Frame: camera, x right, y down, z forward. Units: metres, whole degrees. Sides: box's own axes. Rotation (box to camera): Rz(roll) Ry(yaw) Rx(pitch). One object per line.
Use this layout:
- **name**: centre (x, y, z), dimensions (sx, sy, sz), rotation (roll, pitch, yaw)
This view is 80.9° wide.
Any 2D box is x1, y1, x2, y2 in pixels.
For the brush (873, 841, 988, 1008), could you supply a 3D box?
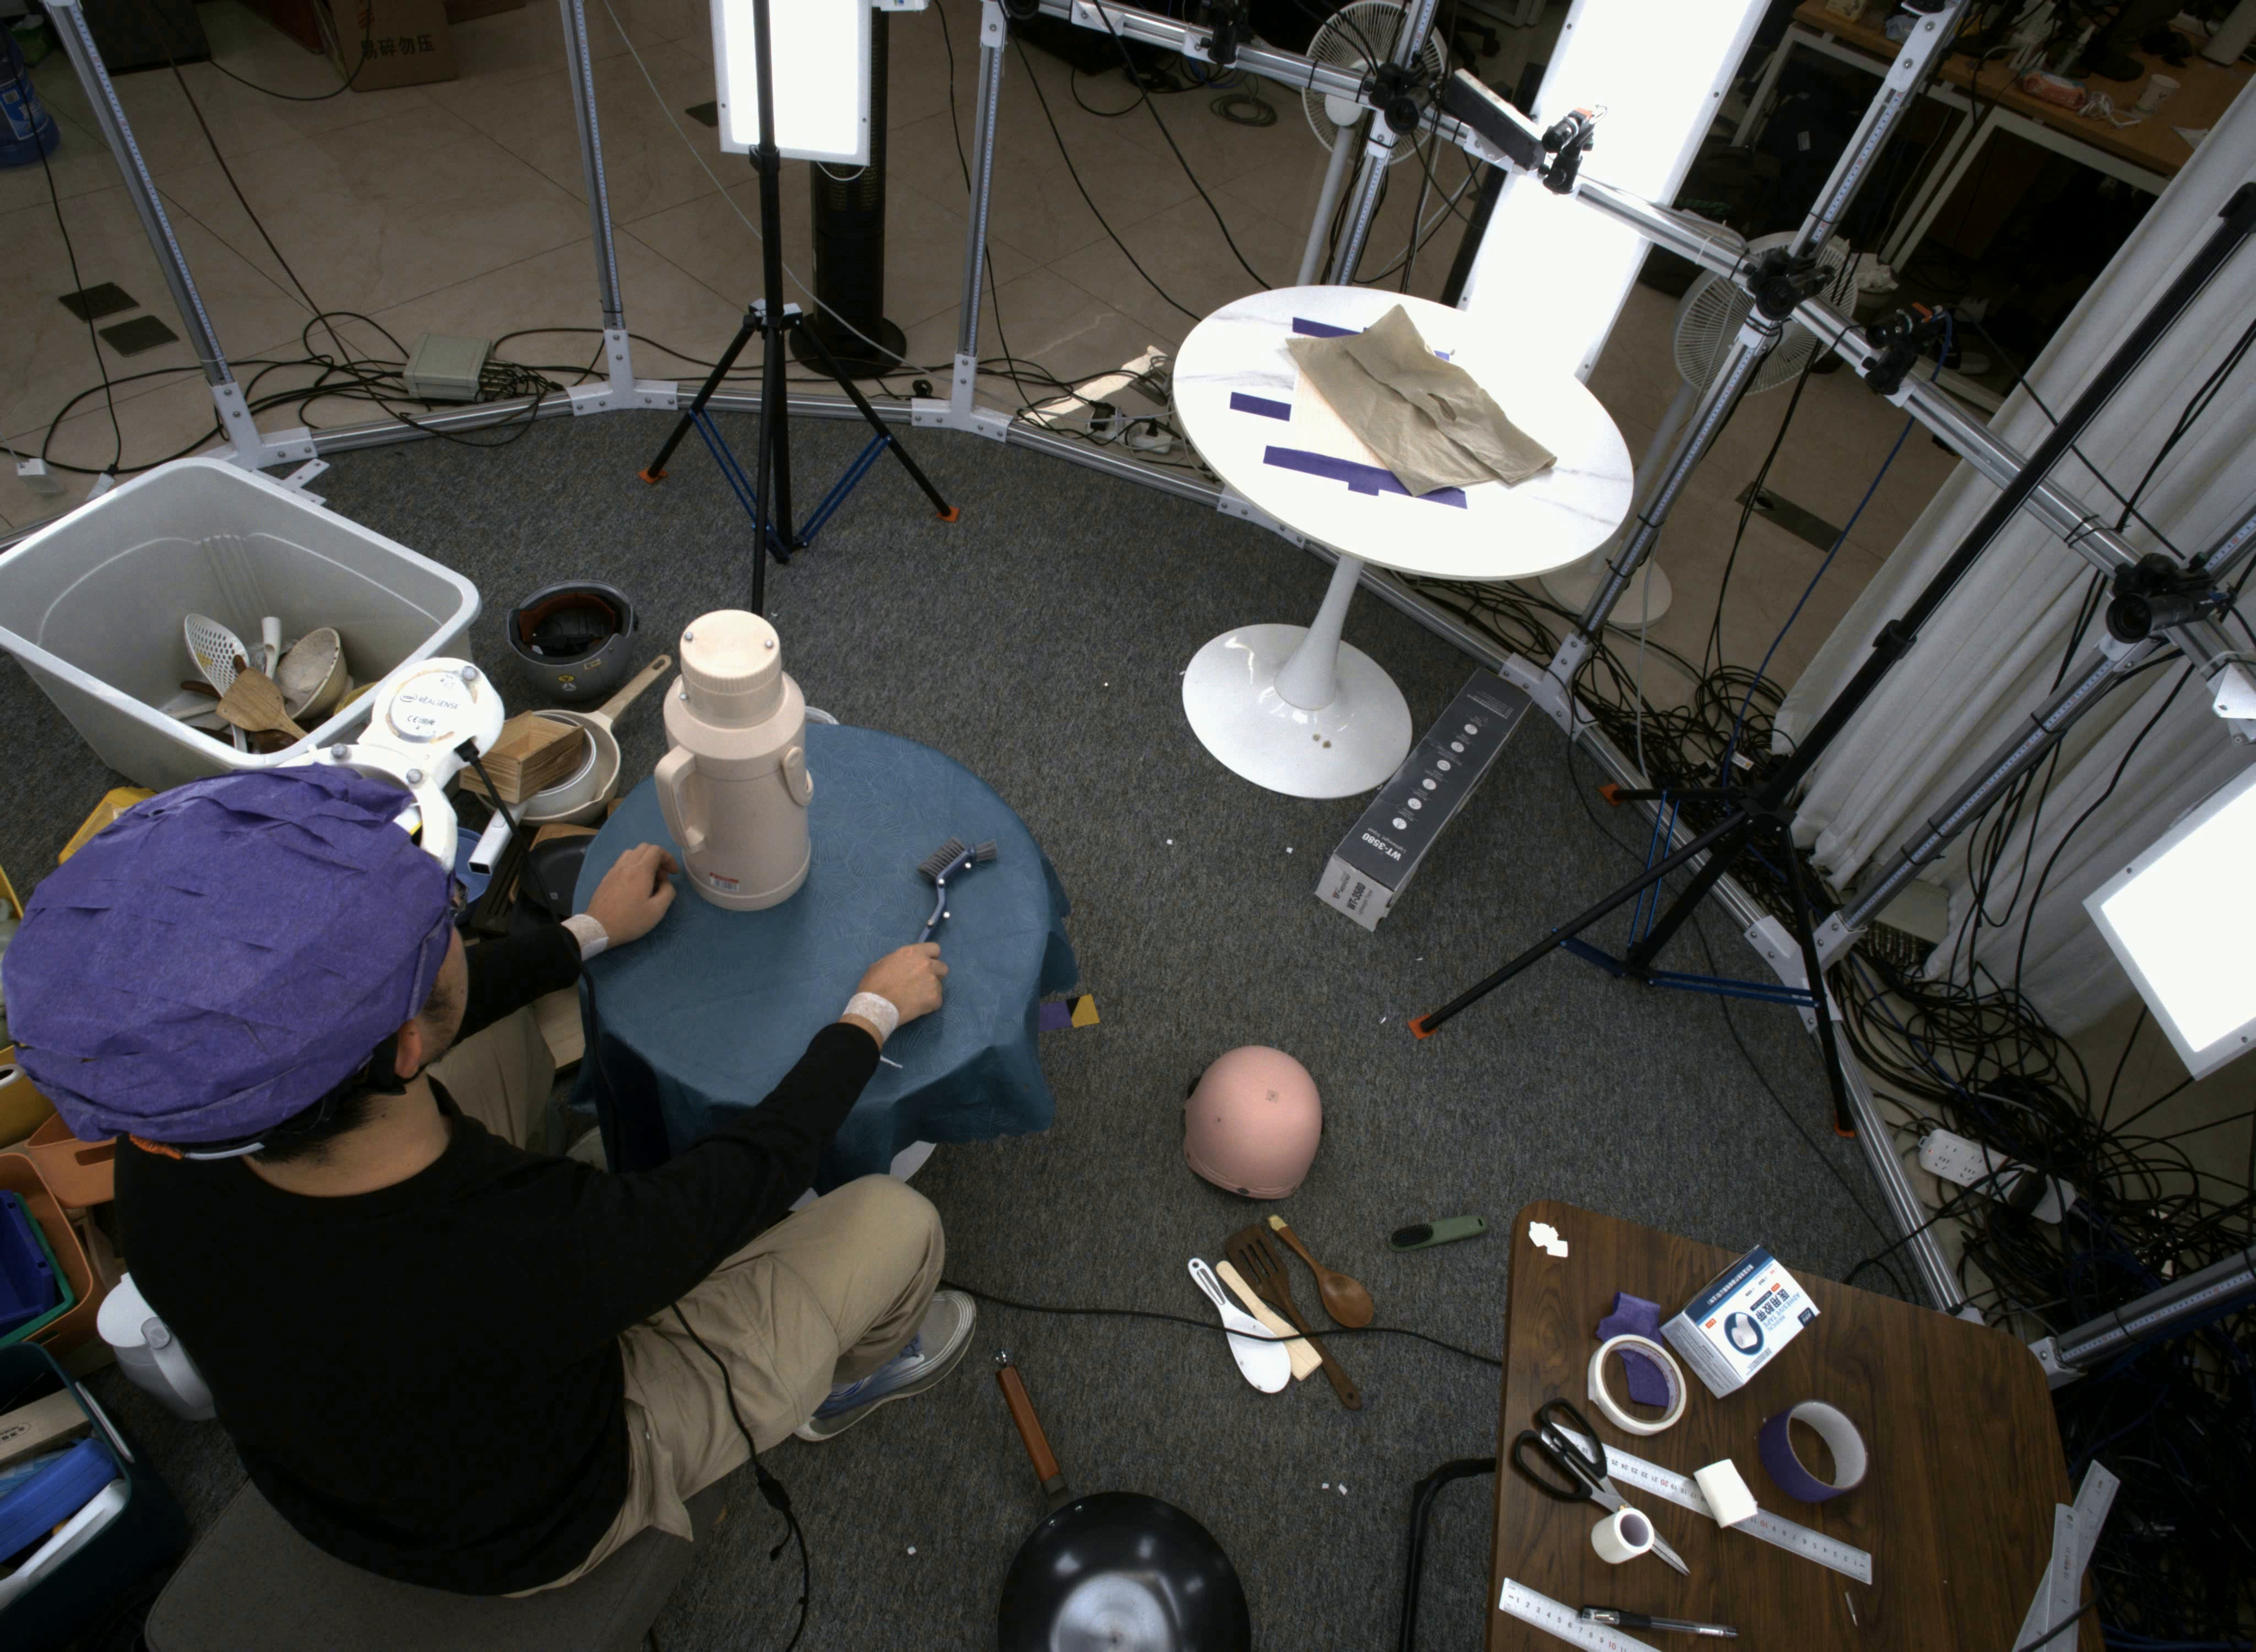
- **brush**: centre (-0.253, 0.118, 1.654), dimensions (0.095, 0.034, 0.269), rotation (15, 49, -2)

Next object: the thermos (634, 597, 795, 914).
- **thermos**: centre (-0.485, -0.070, 1.498), dimensions (0.172, 0.414, 0.206), rotation (30, 52, 10)
